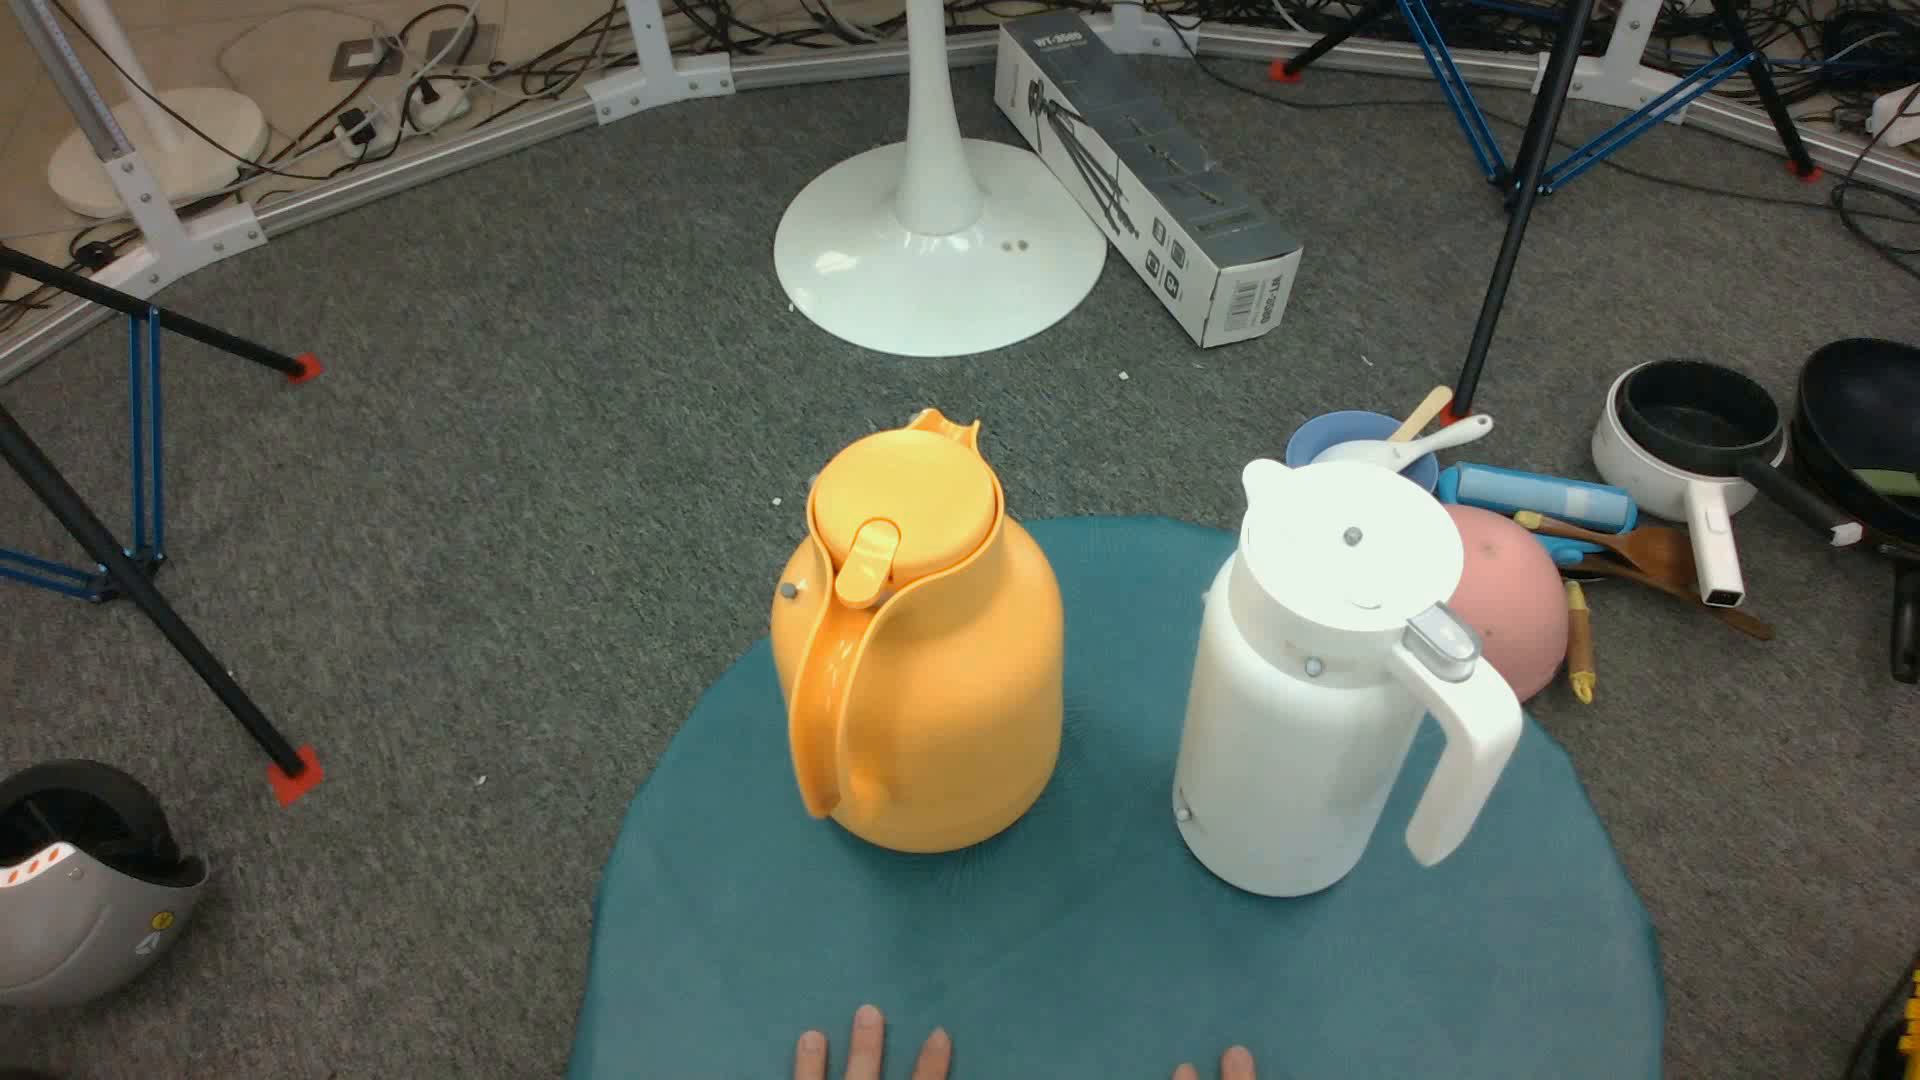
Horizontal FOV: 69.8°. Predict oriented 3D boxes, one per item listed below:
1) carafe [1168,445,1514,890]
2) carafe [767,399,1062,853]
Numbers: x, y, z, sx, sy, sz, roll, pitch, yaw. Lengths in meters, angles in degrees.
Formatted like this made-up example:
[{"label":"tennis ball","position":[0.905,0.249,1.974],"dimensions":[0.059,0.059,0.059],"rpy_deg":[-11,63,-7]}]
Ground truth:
[{"label":"carafe","position":[0.190,0.089,0.721],"dimensions":[0.124,0.267,0.173],"rpy_deg":[-27,56,-21]},{"label":"carafe","position":[-0.033,0.064,0.750],"dimensions":[0.163,0.259,0.203],"rpy_deg":[16,52,18]}]
